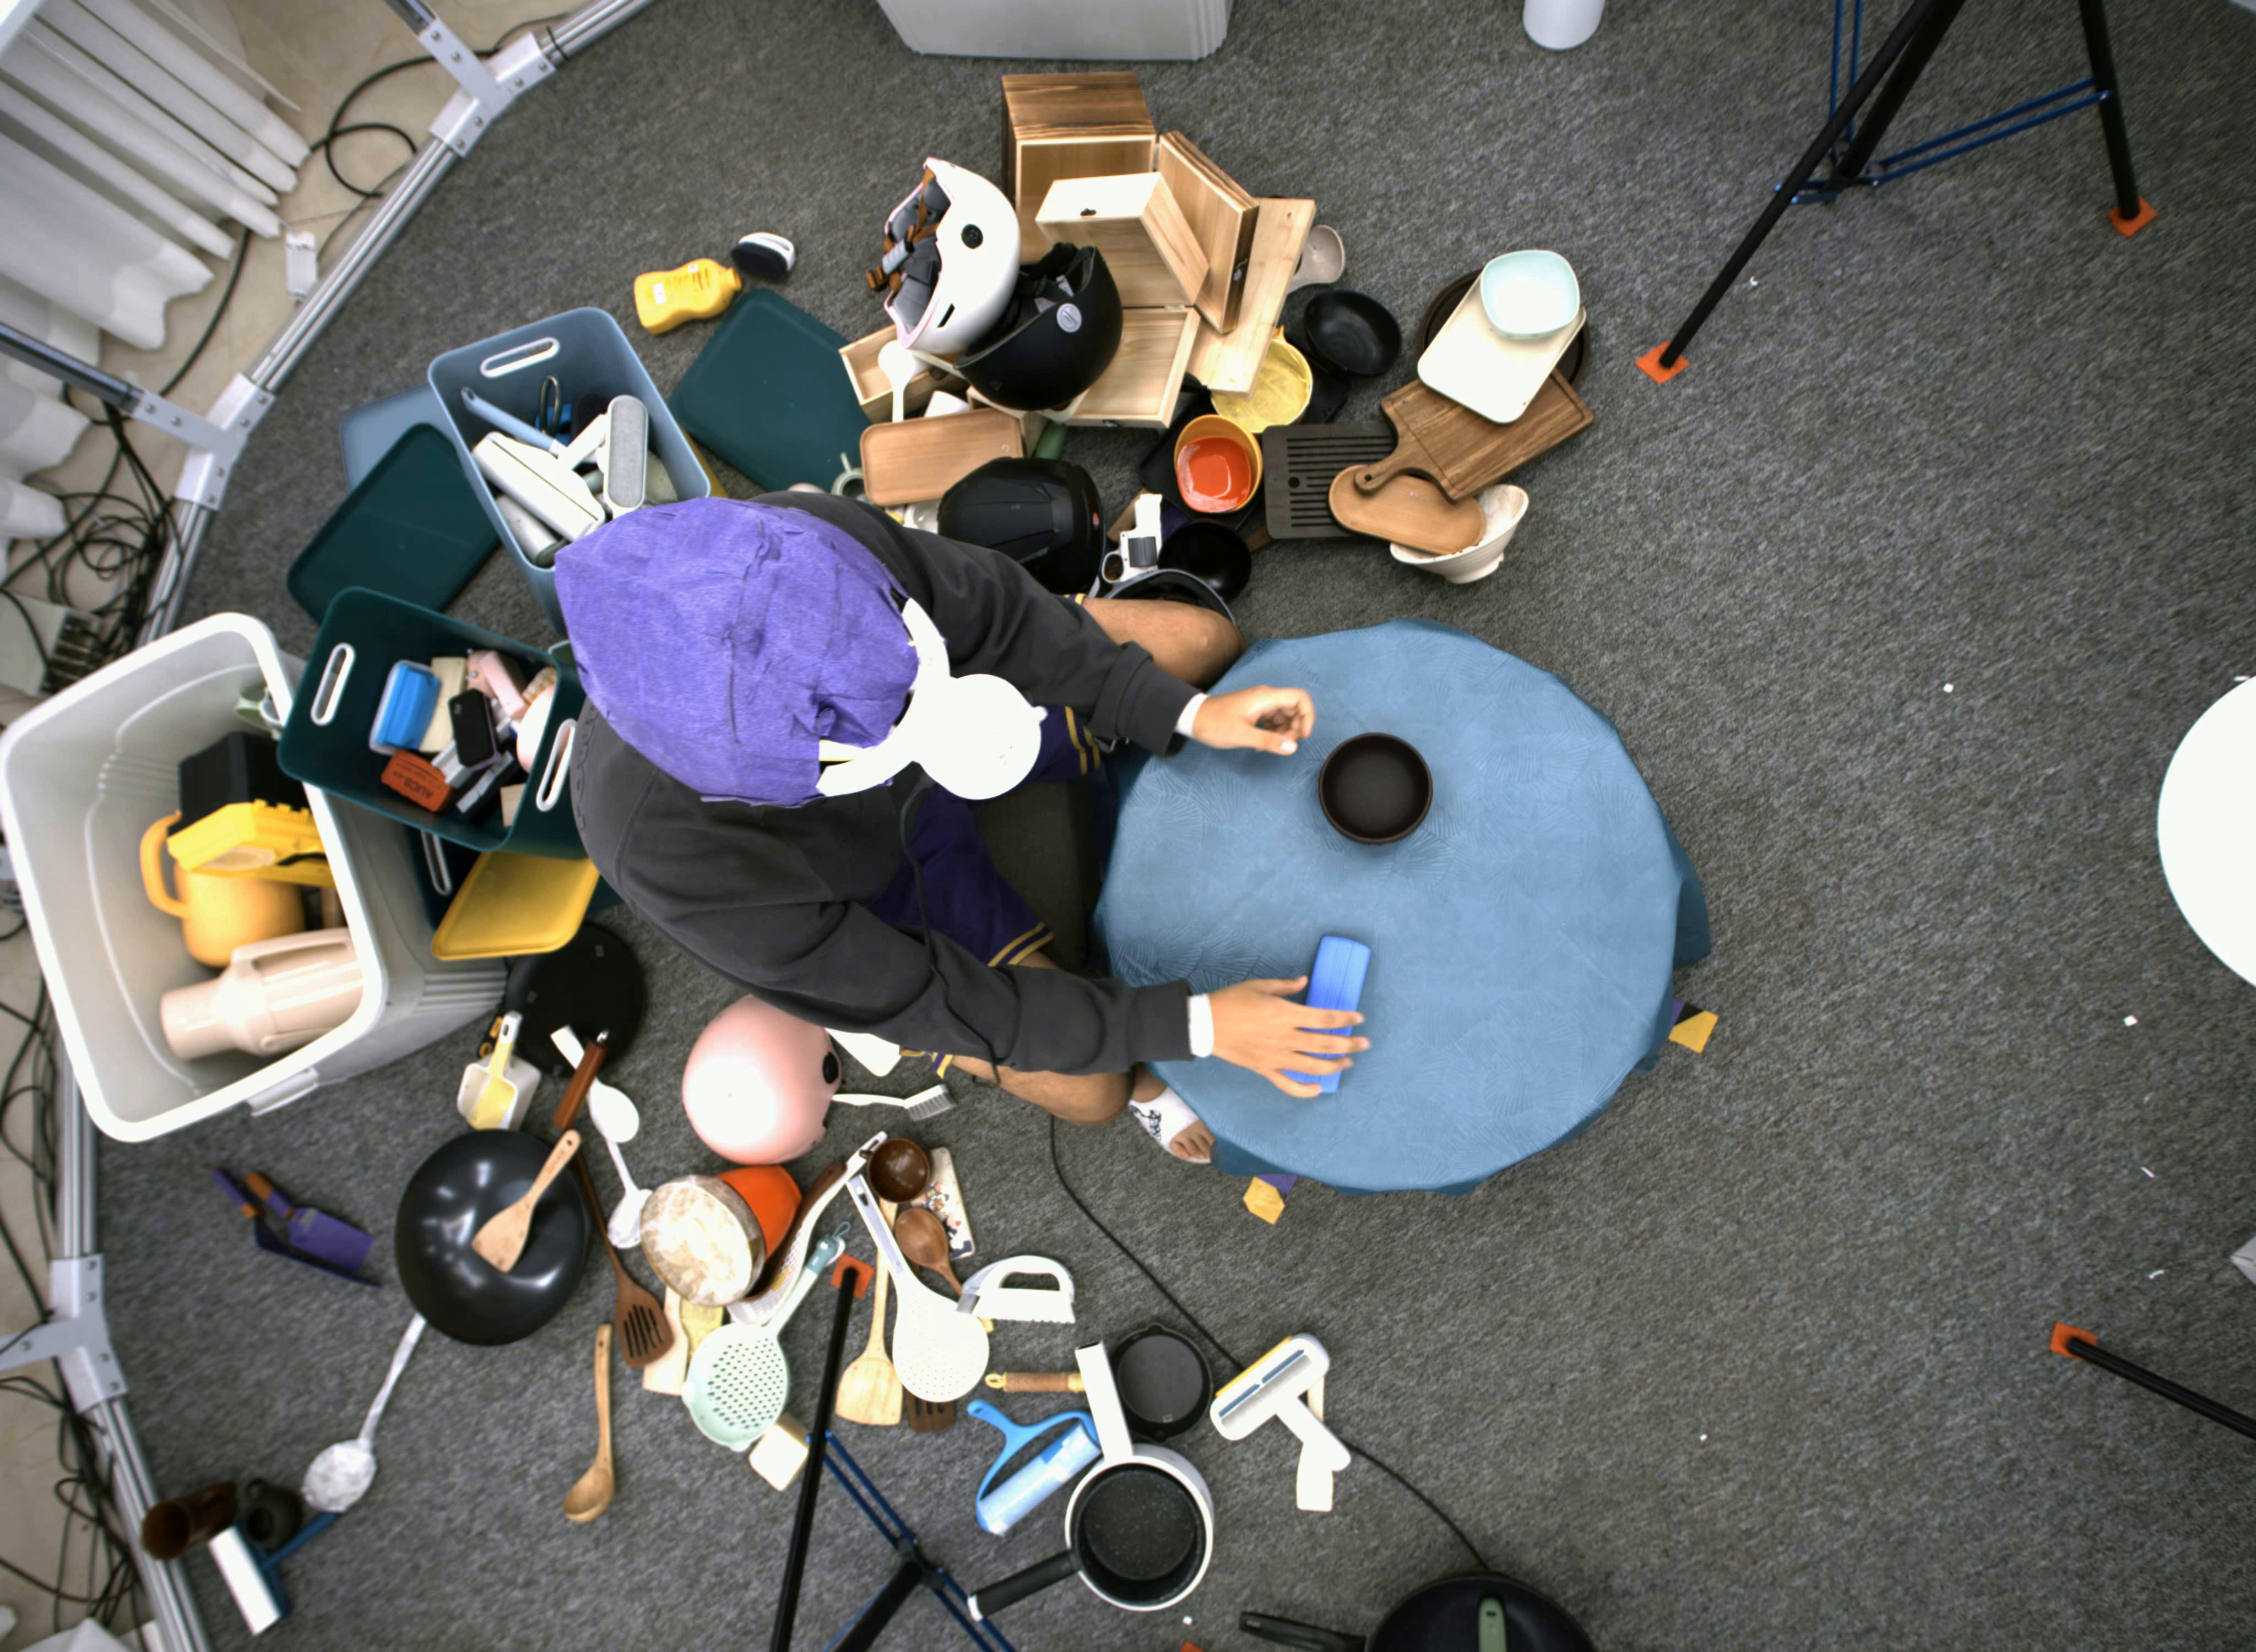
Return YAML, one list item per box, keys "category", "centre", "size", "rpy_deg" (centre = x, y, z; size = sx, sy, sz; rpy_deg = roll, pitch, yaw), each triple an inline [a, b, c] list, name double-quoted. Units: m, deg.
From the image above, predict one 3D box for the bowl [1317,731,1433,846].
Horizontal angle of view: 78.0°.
- category: "bowl"
  centre: [0.256, -0.038, 1.430]
  size: [0.118, 0.070, 0.117]
  rpy_deg: [-1, 87, 11]

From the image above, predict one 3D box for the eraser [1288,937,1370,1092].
- category: "eraser"
  centre: [0.209, 0.195, 1.440]
  size: [0.054, 0.047, 0.162]
  rpy_deg: [13, 89, 10]
